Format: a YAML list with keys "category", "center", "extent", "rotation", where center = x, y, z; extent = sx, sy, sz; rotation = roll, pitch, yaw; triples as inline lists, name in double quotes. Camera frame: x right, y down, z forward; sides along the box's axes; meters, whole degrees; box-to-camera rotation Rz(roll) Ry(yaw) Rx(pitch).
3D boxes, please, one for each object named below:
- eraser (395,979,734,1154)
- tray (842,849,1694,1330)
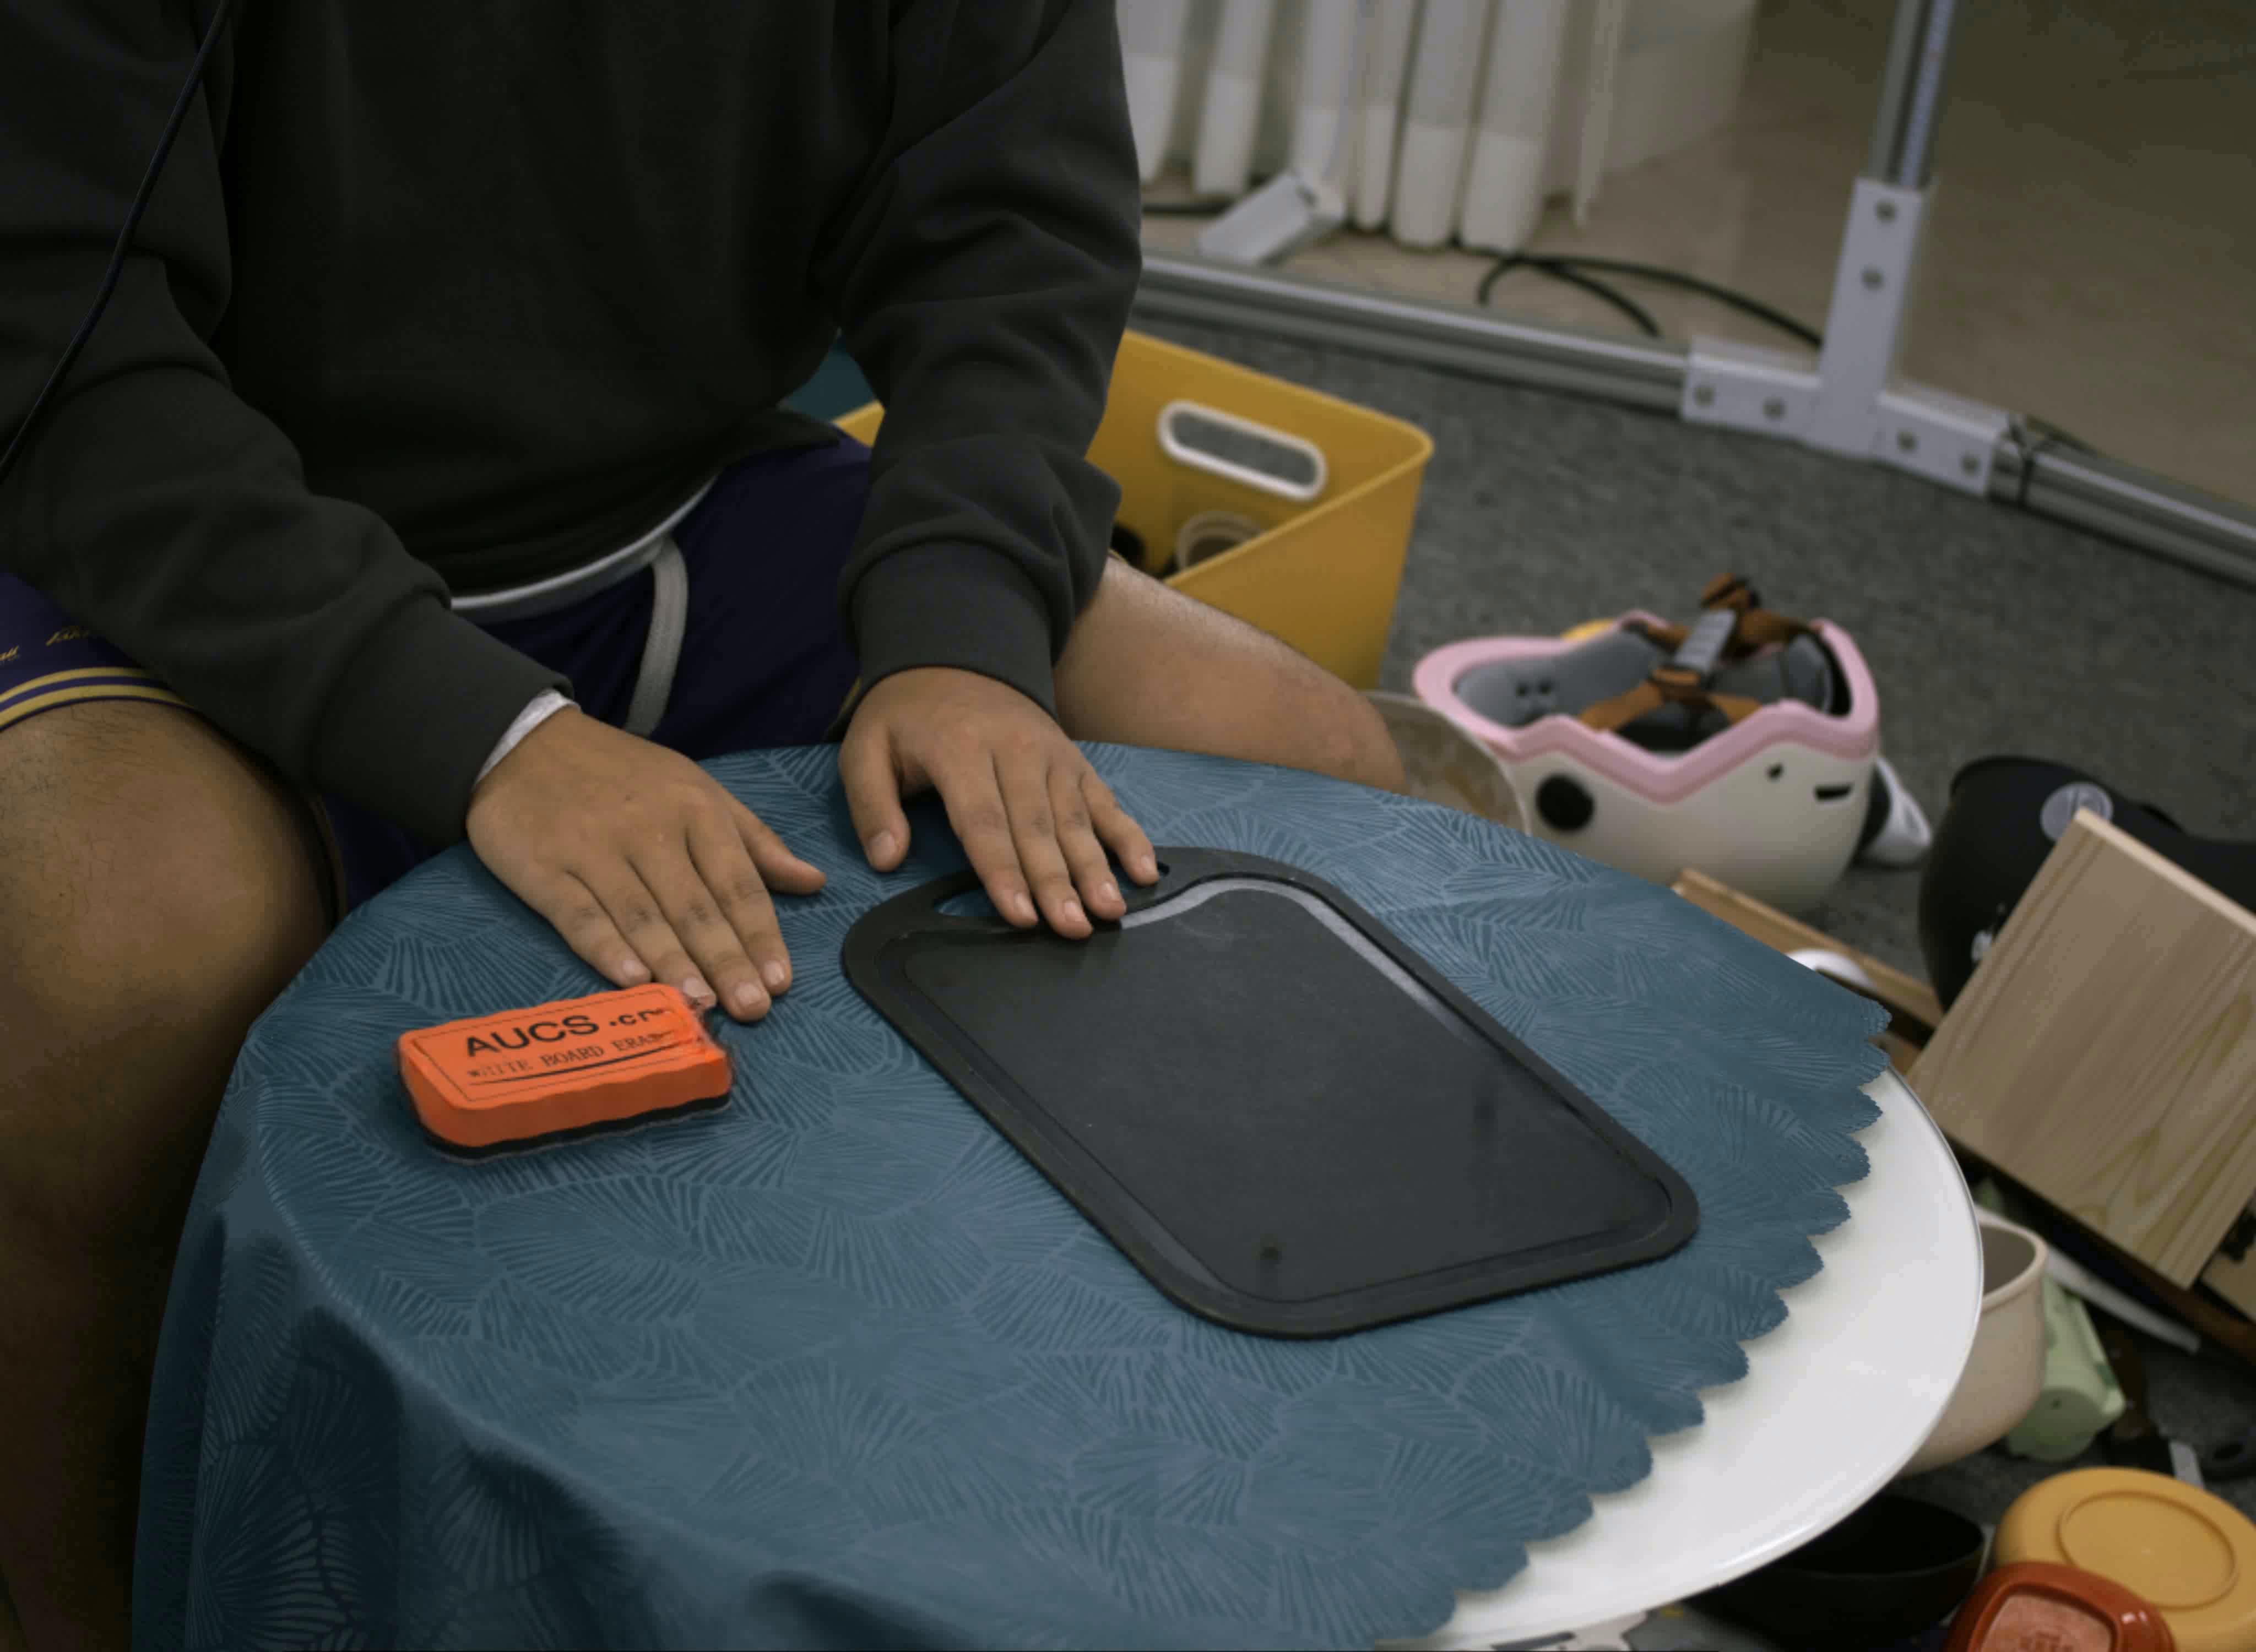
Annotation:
- category: "eraser"
  center: [-0.191, 0.081, 1.809]
  extent: [0.107, 0.023, 0.059]
  rotation: [-9, 32, -32]
- category: "tray"
  center: [0.040, 0.084, 1.882]
  extent: [0.210, 0.010, 0.328]
  rotation: [-9, 31, -29]
